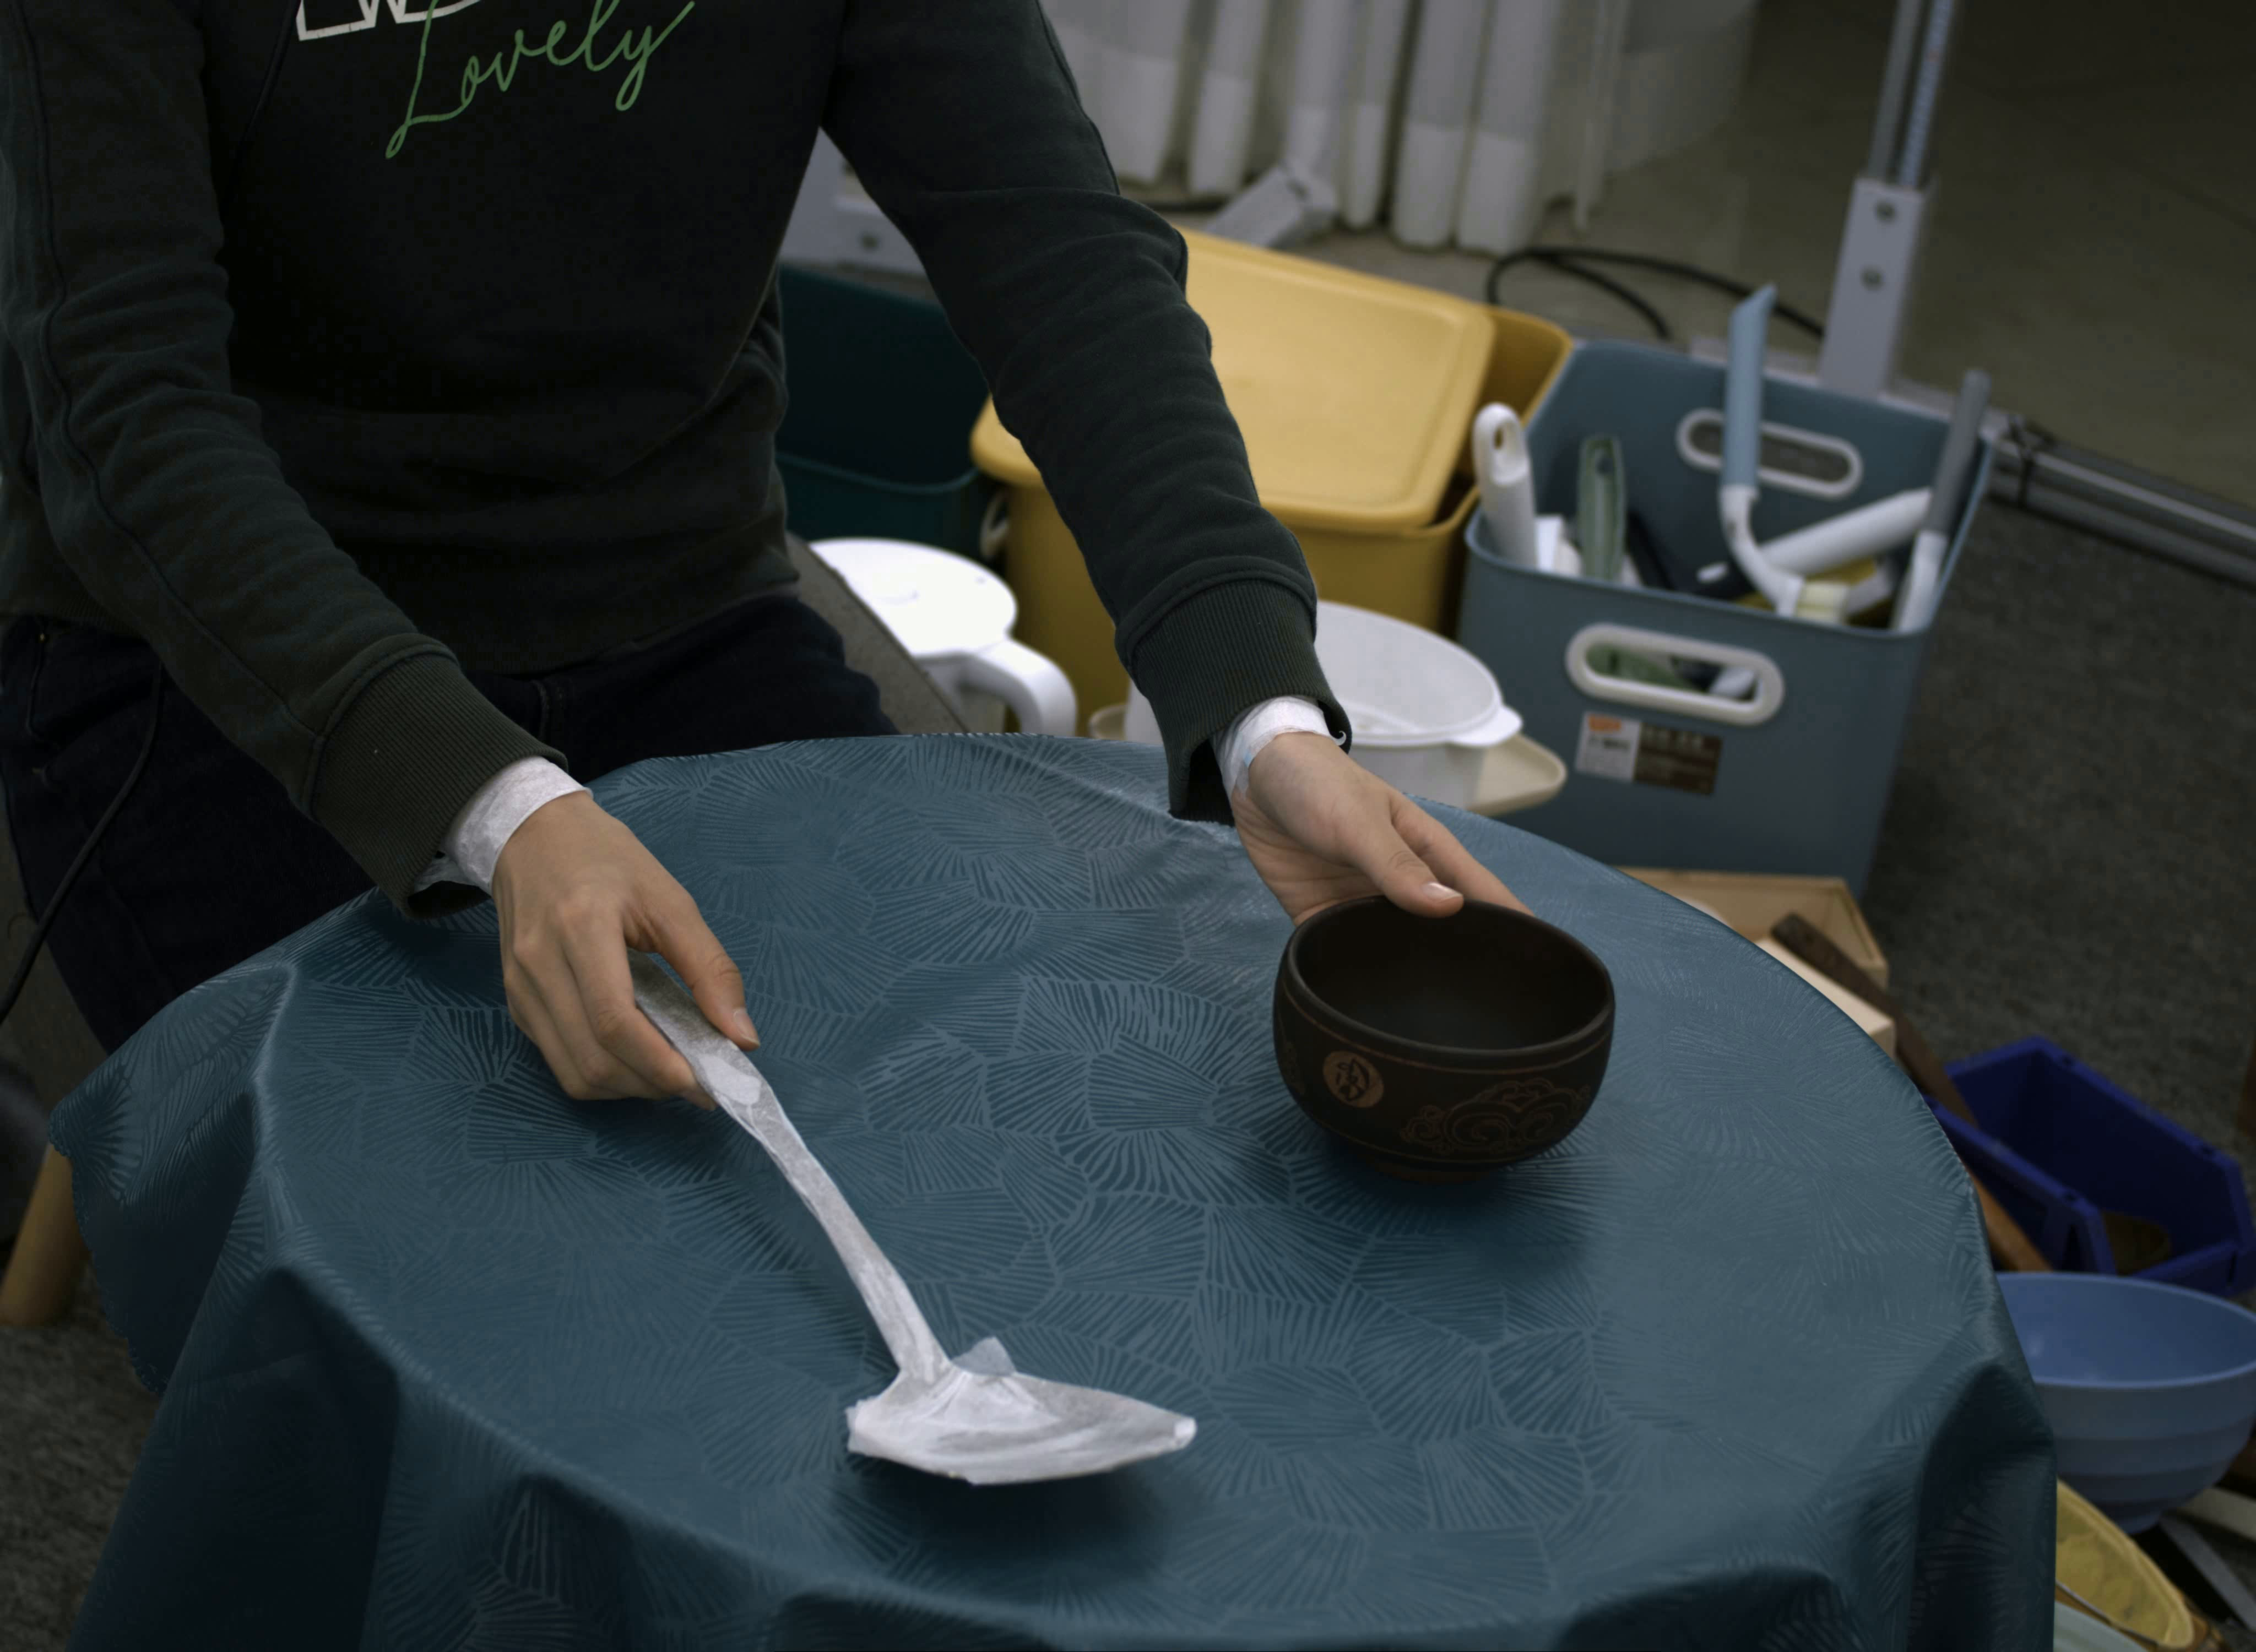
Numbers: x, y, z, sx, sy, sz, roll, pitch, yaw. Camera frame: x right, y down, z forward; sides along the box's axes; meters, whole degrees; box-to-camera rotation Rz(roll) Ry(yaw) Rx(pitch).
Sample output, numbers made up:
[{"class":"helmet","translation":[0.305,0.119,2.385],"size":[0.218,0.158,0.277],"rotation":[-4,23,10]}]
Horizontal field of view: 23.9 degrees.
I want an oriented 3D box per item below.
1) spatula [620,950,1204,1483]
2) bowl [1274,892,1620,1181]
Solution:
[{"class":"spatula","translation":[-0.095,0.118,1.732],"size":[0.098,0.044,0.368],"rotation":[-7,33,-27]},{"class":"bowl","translation":[0.107,0.079,1.834],"size":[0.117,0.069,0.119],"rotation":[6,25,-3]}]
